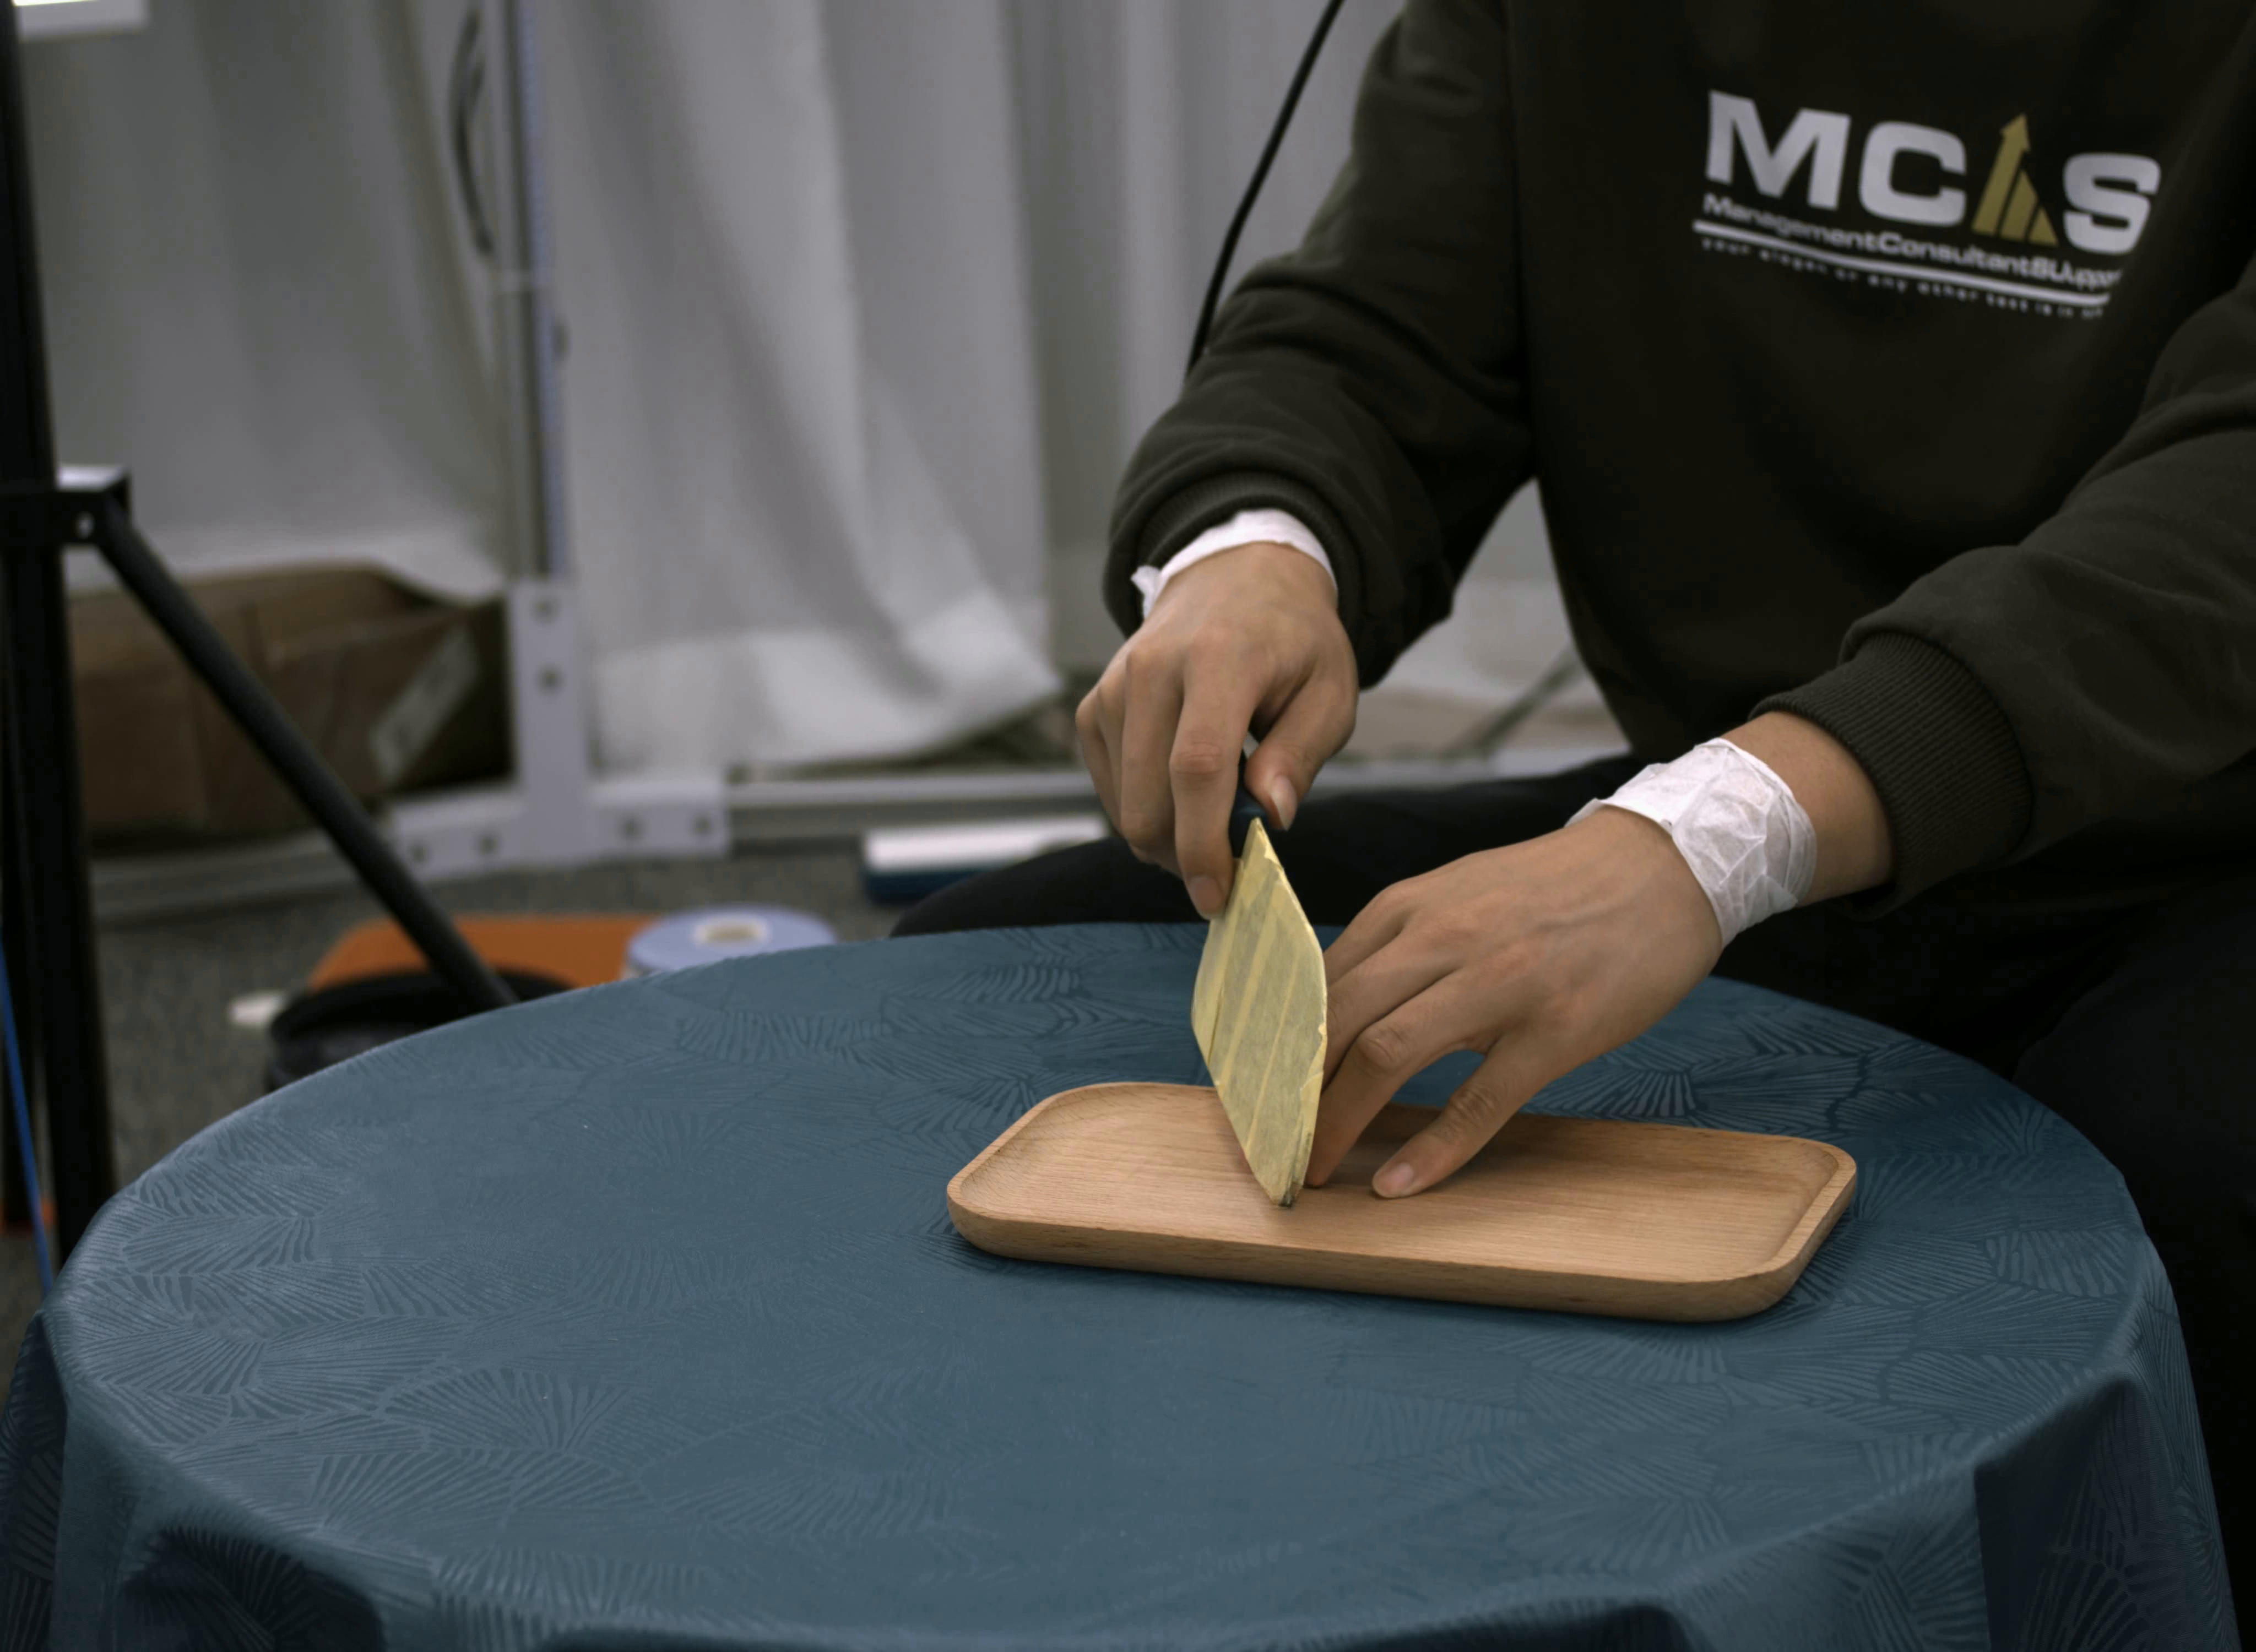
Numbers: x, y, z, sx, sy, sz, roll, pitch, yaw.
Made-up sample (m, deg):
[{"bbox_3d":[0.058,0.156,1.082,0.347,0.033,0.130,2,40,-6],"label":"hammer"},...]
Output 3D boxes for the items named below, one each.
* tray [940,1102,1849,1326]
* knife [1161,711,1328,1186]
[{"bbox_3d":[0.077,0.111,1.522,0.254,0.023,0.129,1,13,22],"label":"tray"},{"bbox_3d":[0.033,0.032,1.605,0.027,0.081,0.292,14,20,-12],"label":"knife"}]
